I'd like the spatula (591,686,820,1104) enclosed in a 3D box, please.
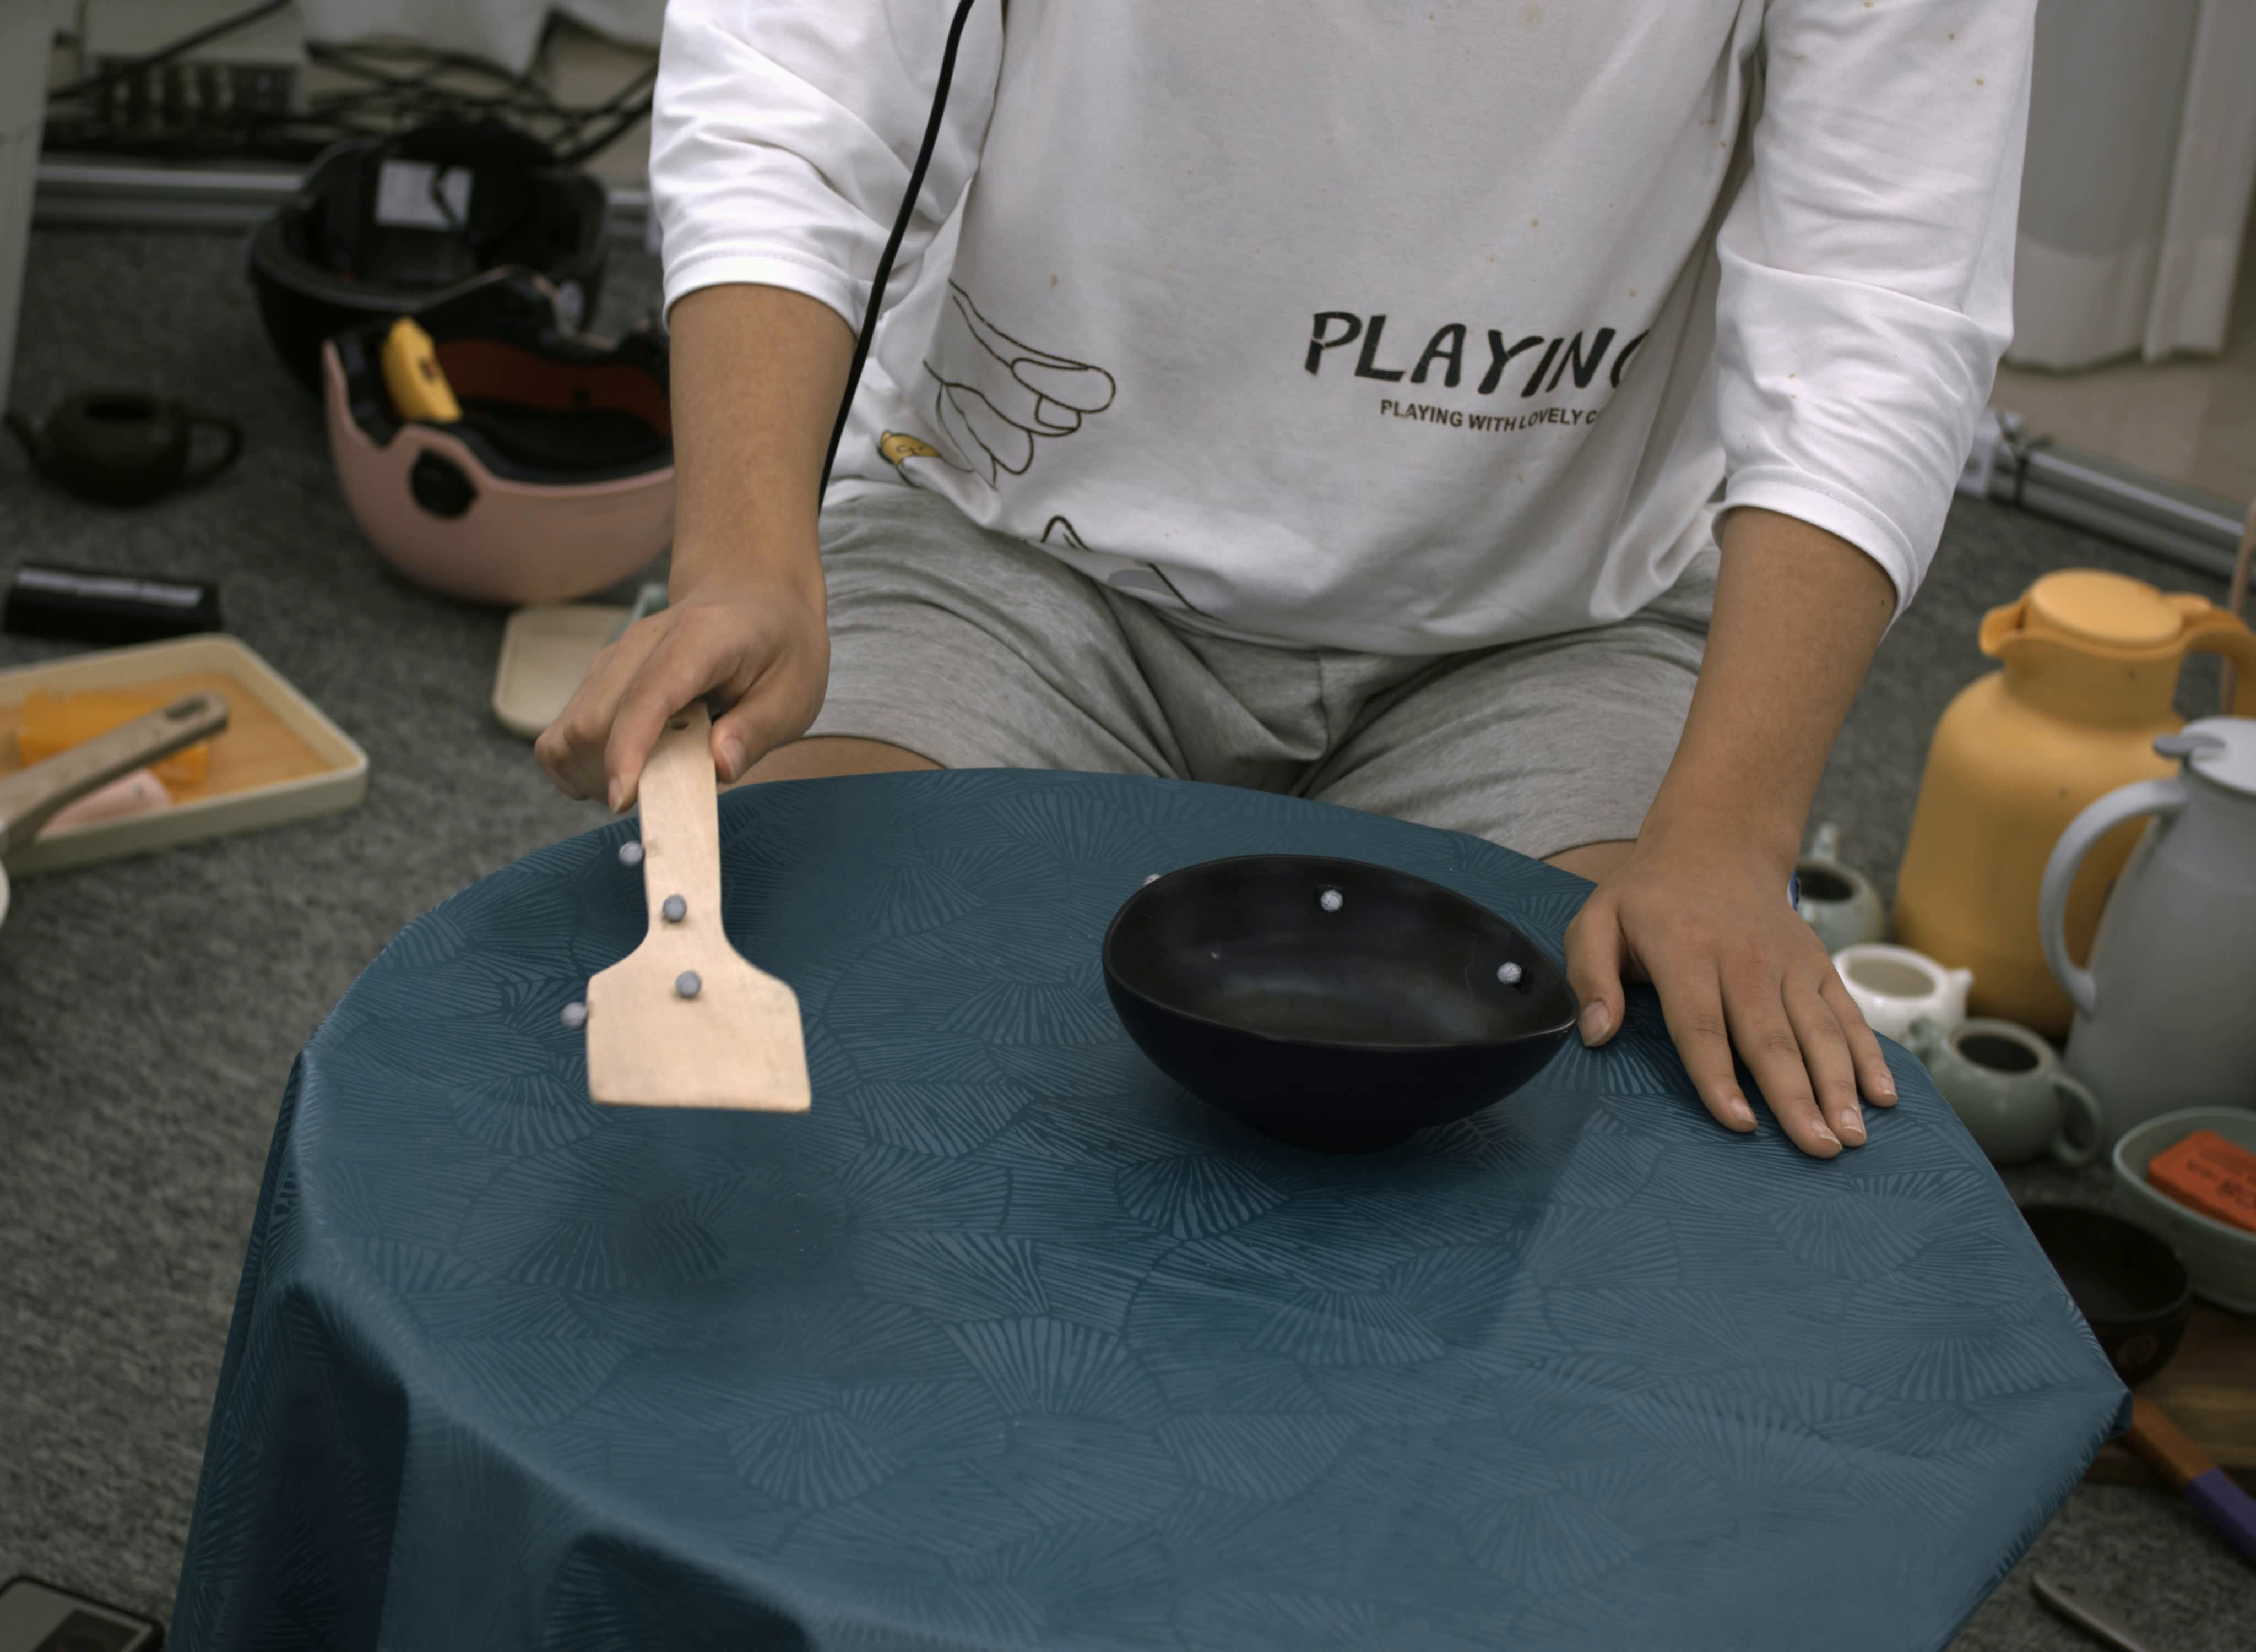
[{"bbox_3d":[-0.149,0.020,1.806,0.072,0.010,0.295,2,28,-8],"label":"spatula"}]

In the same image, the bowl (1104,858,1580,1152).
[{"bbox_3d":[0.071,0.069,1.860,0.169,0.066,0.138,3,26,-12],"label":"bowl"}]
